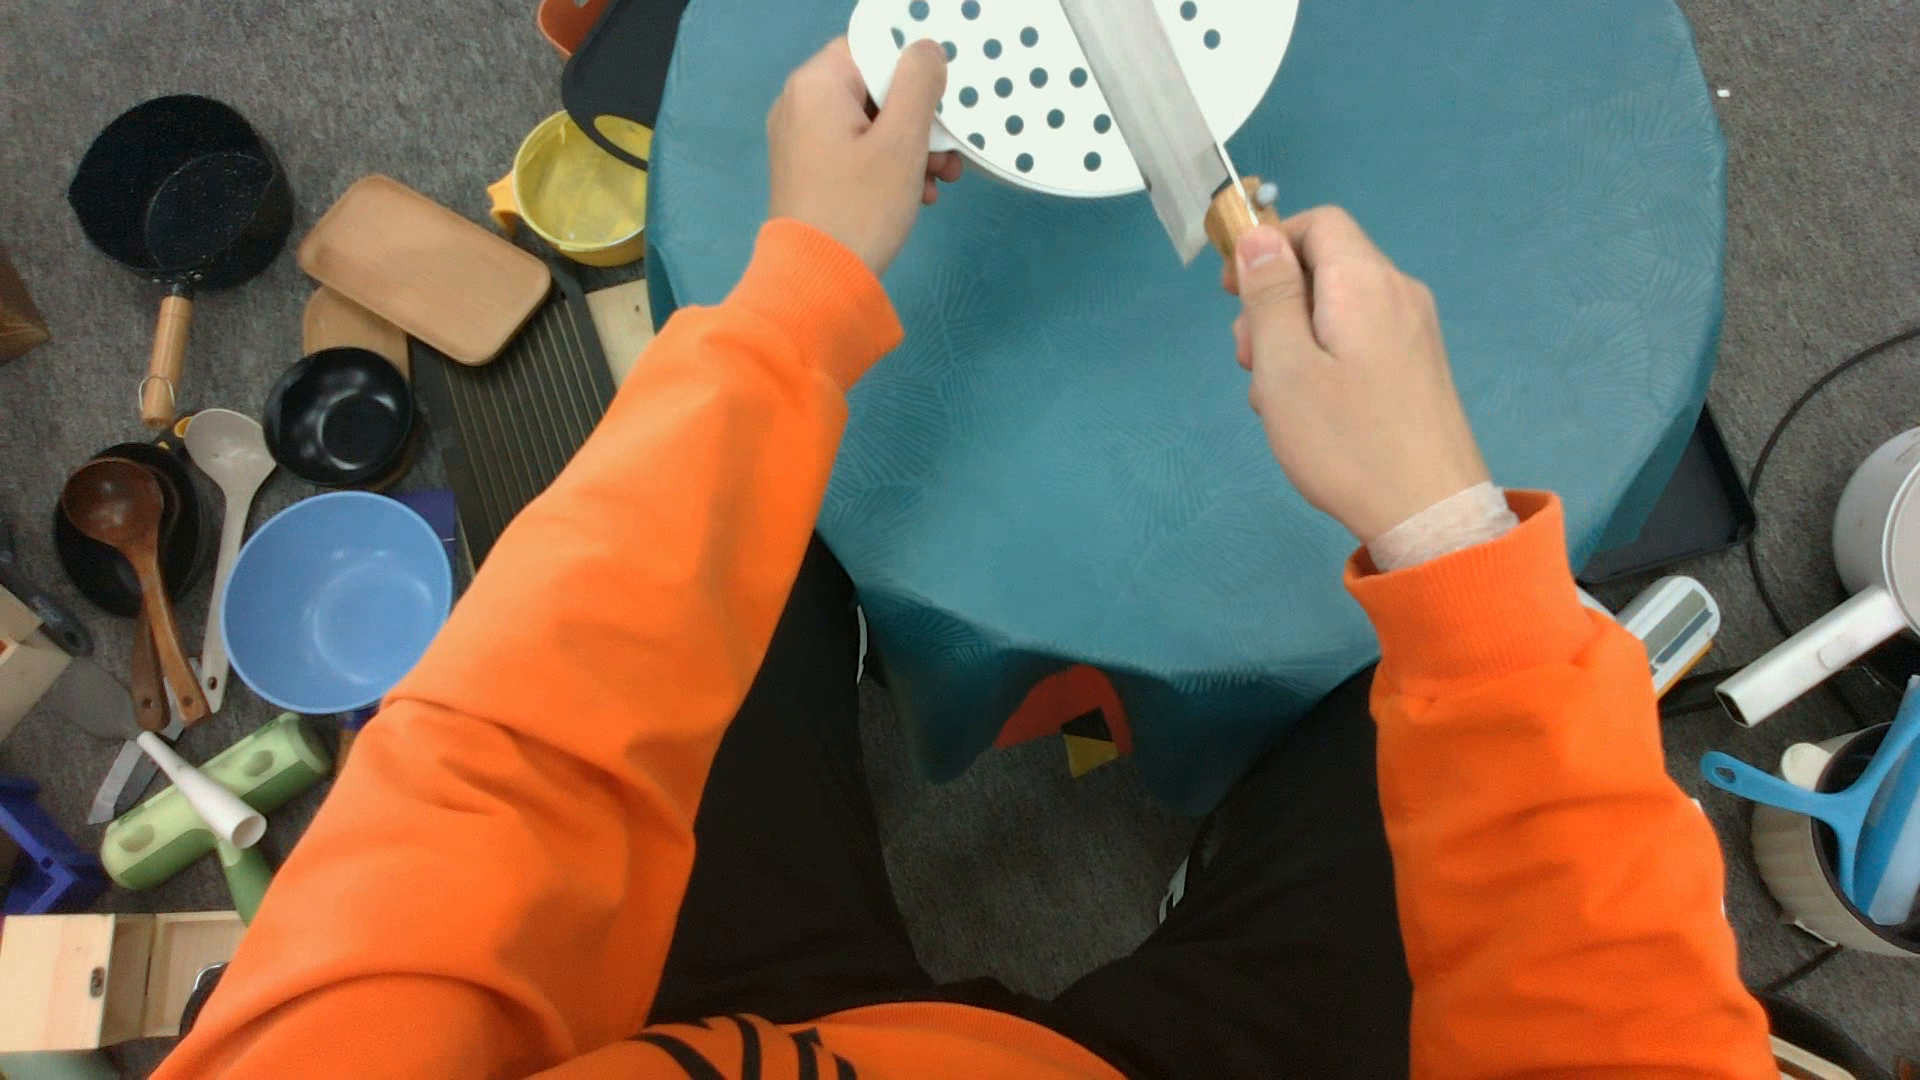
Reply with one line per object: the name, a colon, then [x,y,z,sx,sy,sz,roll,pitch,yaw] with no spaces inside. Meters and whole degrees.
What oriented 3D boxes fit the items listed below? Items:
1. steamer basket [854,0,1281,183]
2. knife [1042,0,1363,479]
steamer basket: [0.049,-0.270,0.650,0.231,0.069,0.201,-35,107,-8]
knife: [0.082,-0.160,0.572,0.021,0.093,0.306,-25,87,-7]
